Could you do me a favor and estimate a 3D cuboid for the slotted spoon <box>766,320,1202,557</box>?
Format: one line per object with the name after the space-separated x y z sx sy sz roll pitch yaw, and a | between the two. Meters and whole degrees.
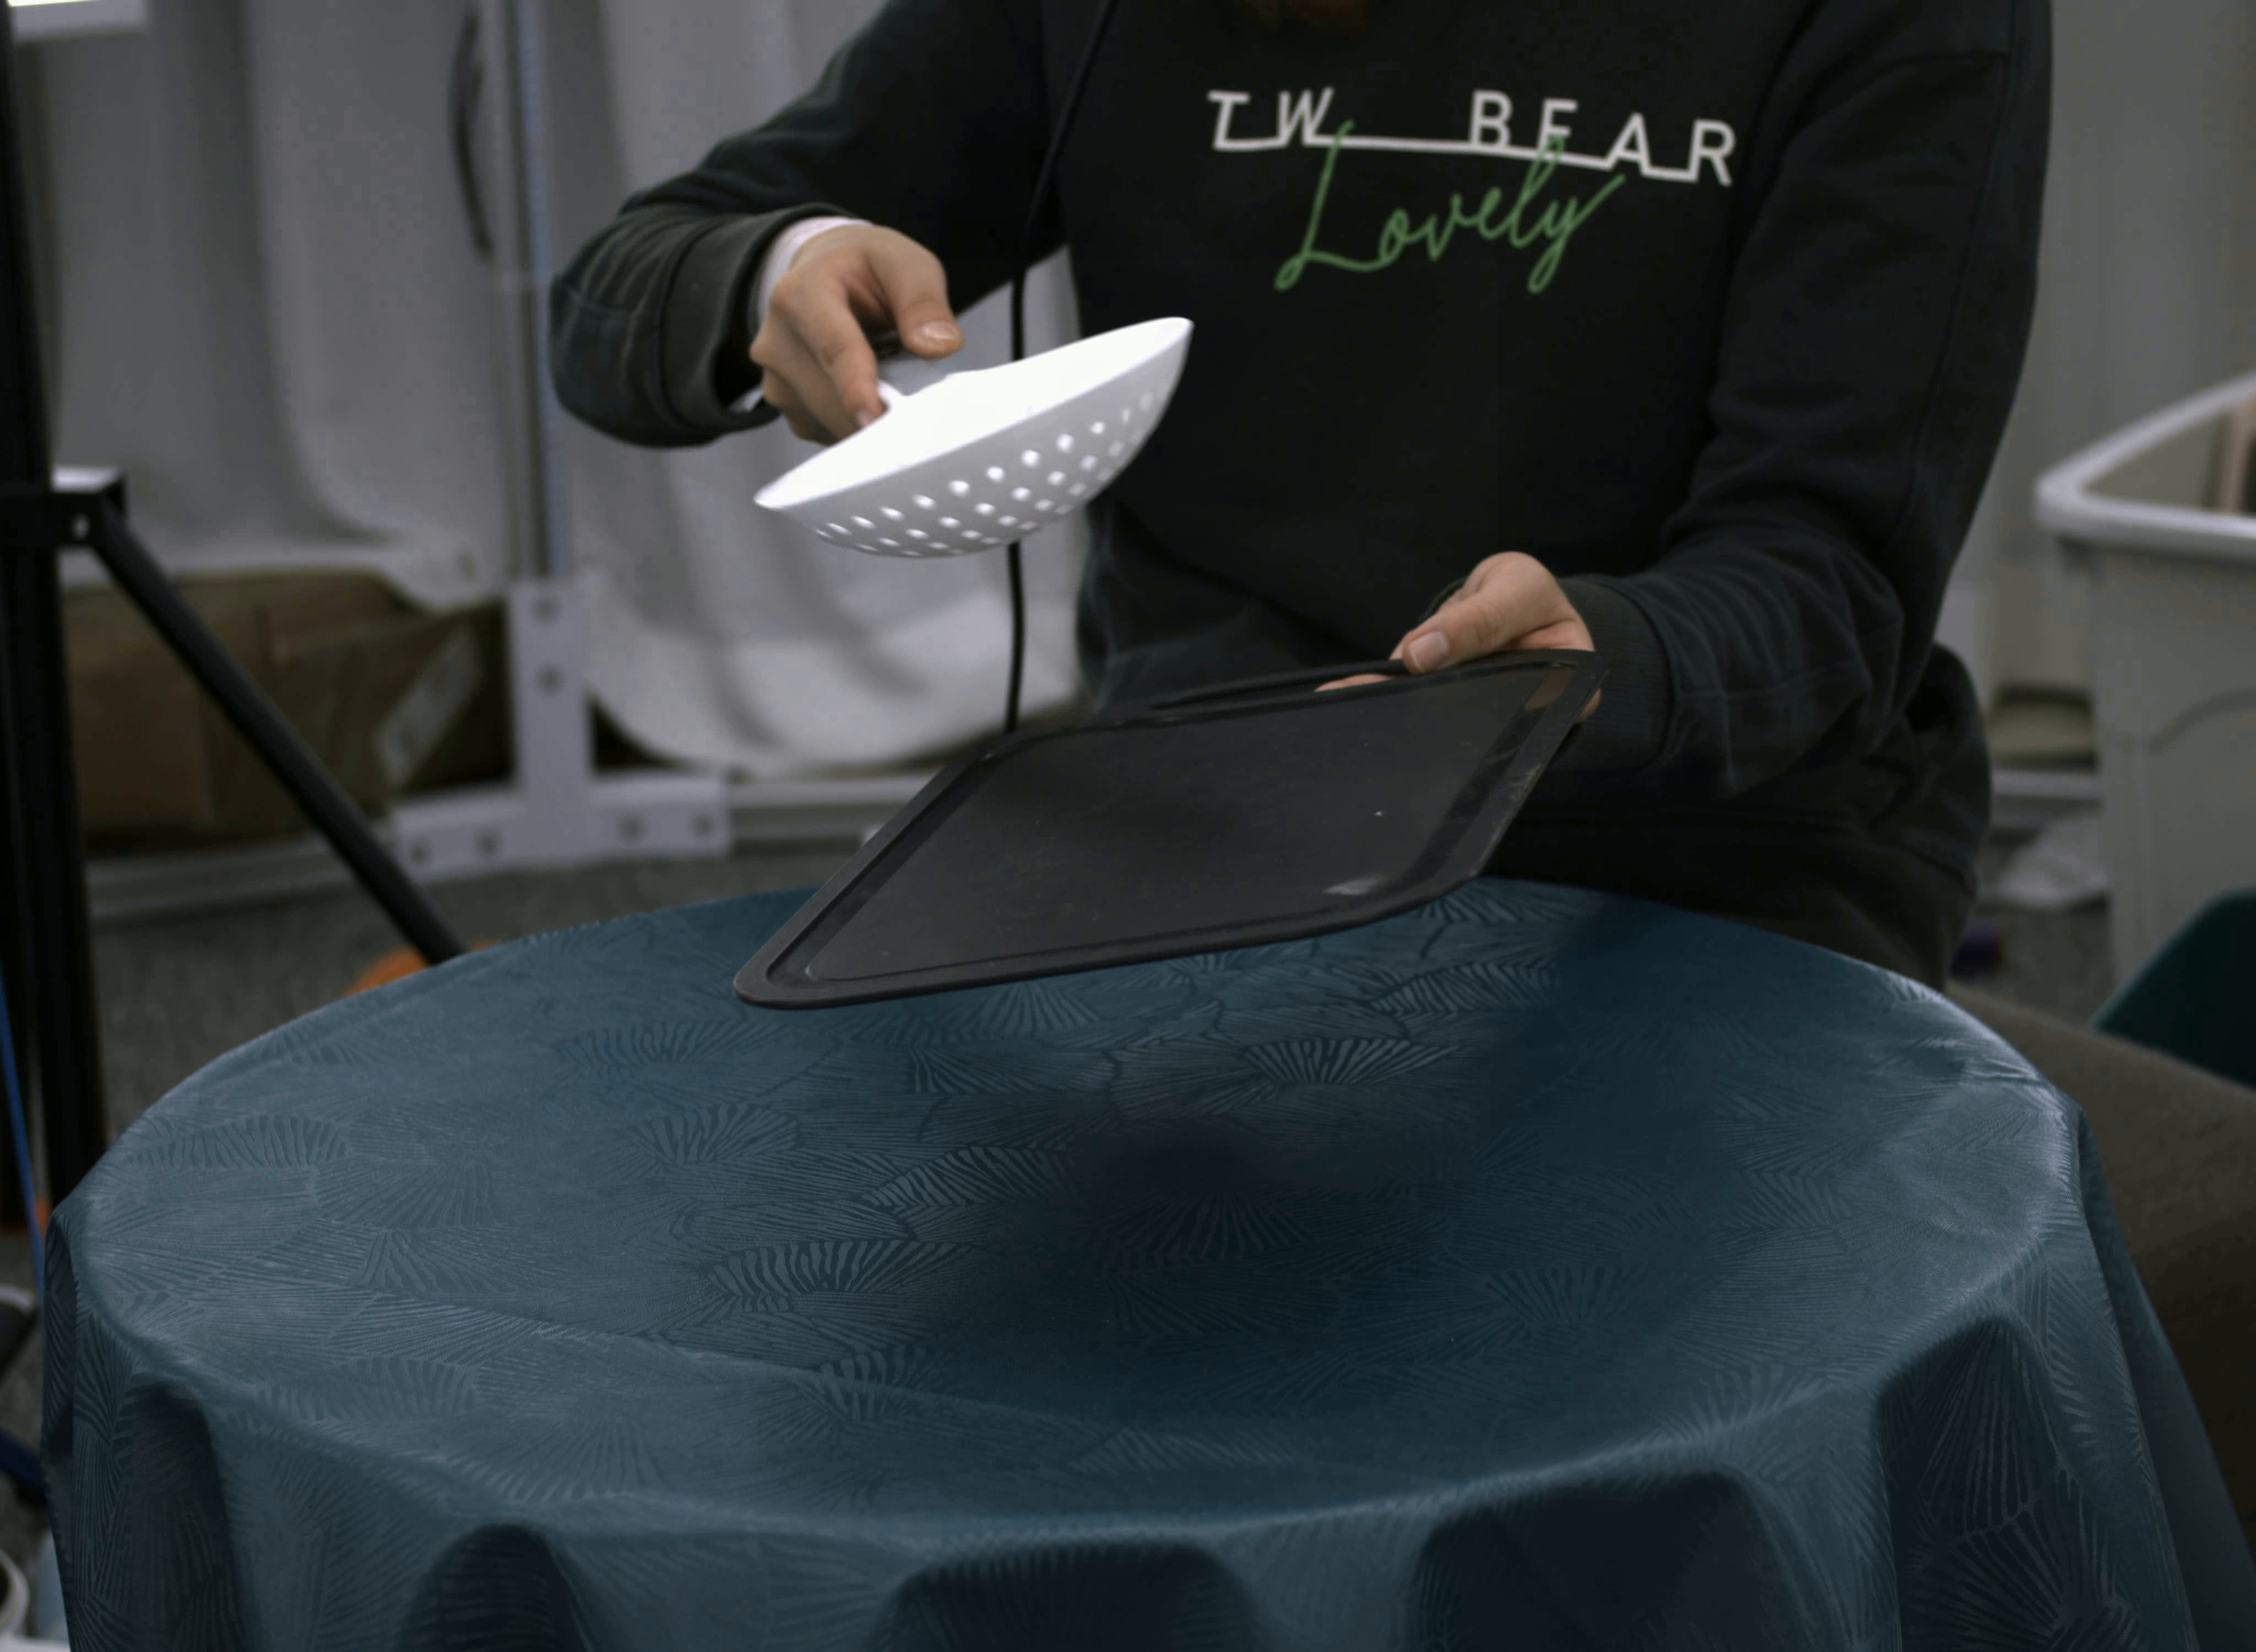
-0.055 -0.130 1.653 0.135 0.045 0.353 -23 16 -4 | slotted spoon

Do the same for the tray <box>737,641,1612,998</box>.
0.021 -0.007 1.518 0.213 0.010 0.323 -9 13 17 | tray
